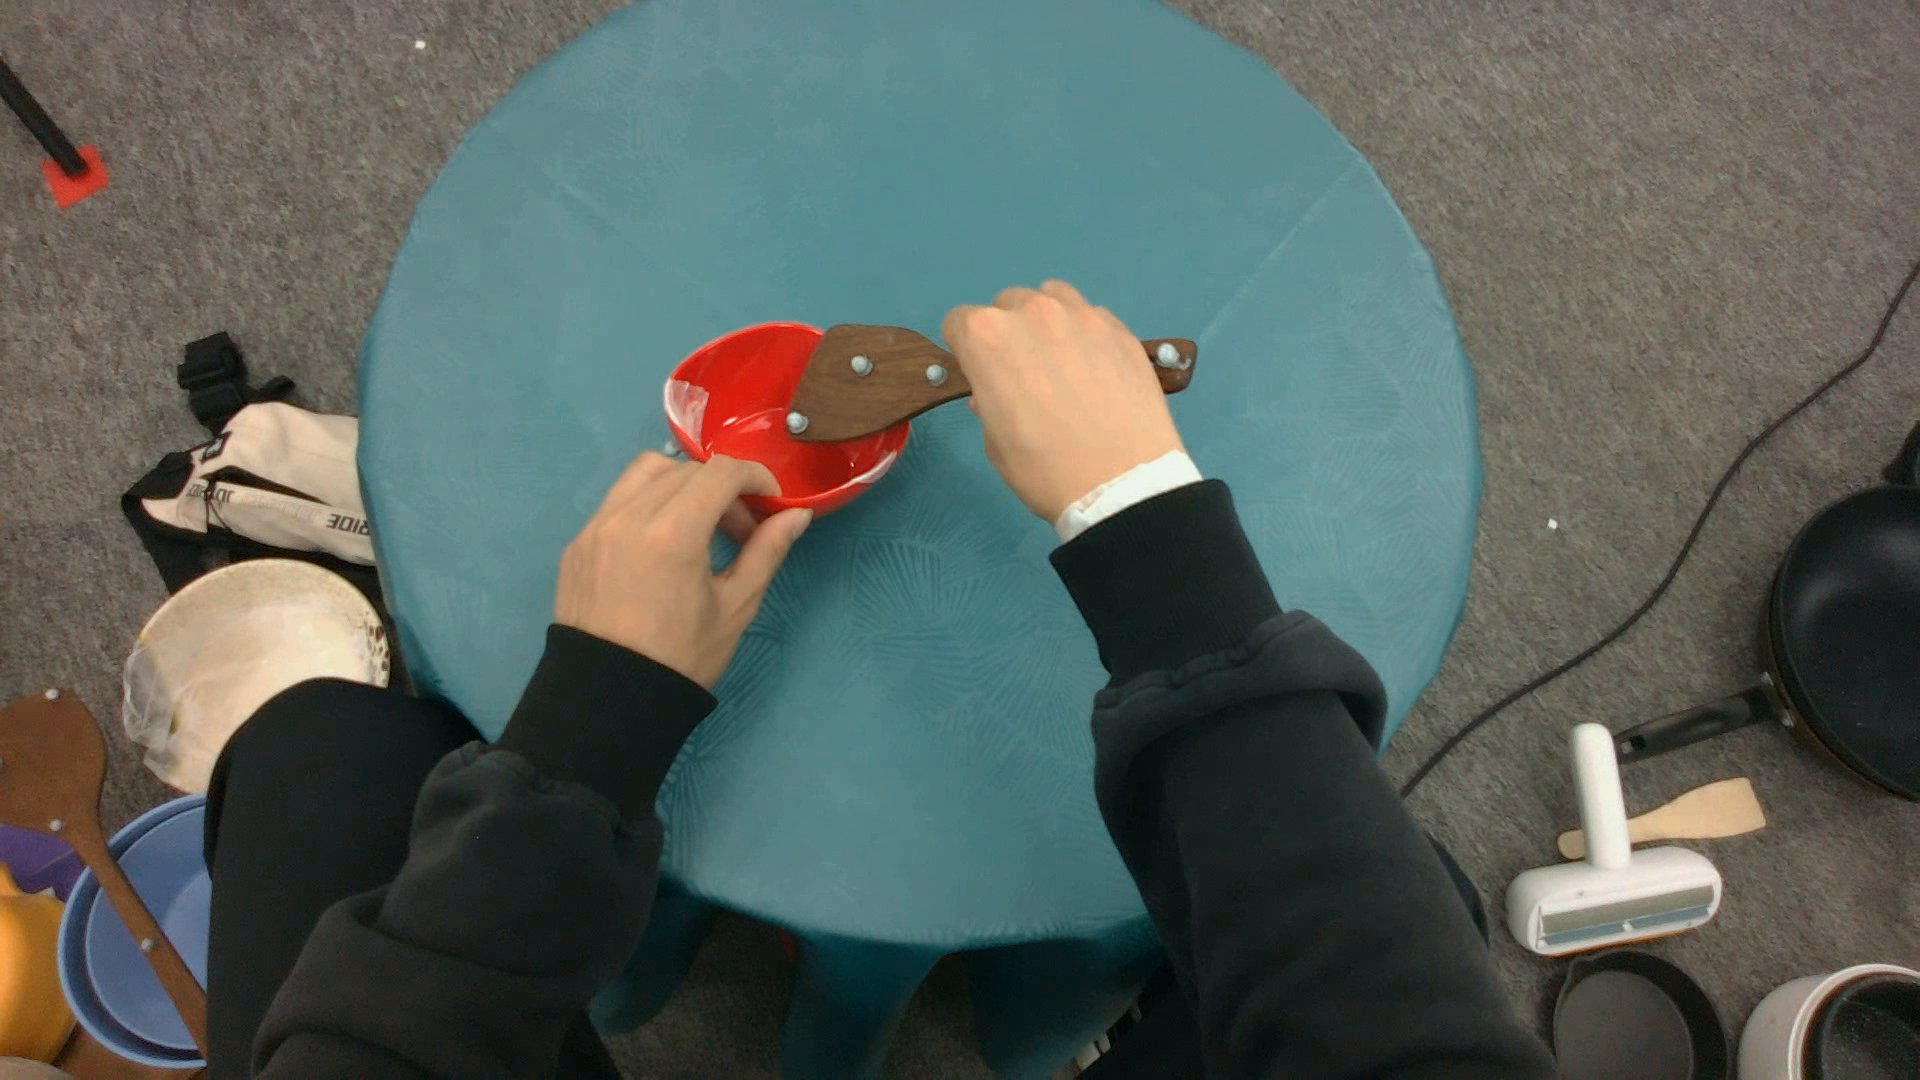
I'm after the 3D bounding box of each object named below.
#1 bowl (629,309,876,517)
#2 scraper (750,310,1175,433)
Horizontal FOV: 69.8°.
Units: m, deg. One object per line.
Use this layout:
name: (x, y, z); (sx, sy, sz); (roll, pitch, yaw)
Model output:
bowl: (-0.104, -0.055, 0.679); (0.119, 0.051, 0.119); (10, 49, -12)
scraper: (-0.002, -0.079, 0.631); (0.211, 0.011, 0.076); (2, 54, 30)
